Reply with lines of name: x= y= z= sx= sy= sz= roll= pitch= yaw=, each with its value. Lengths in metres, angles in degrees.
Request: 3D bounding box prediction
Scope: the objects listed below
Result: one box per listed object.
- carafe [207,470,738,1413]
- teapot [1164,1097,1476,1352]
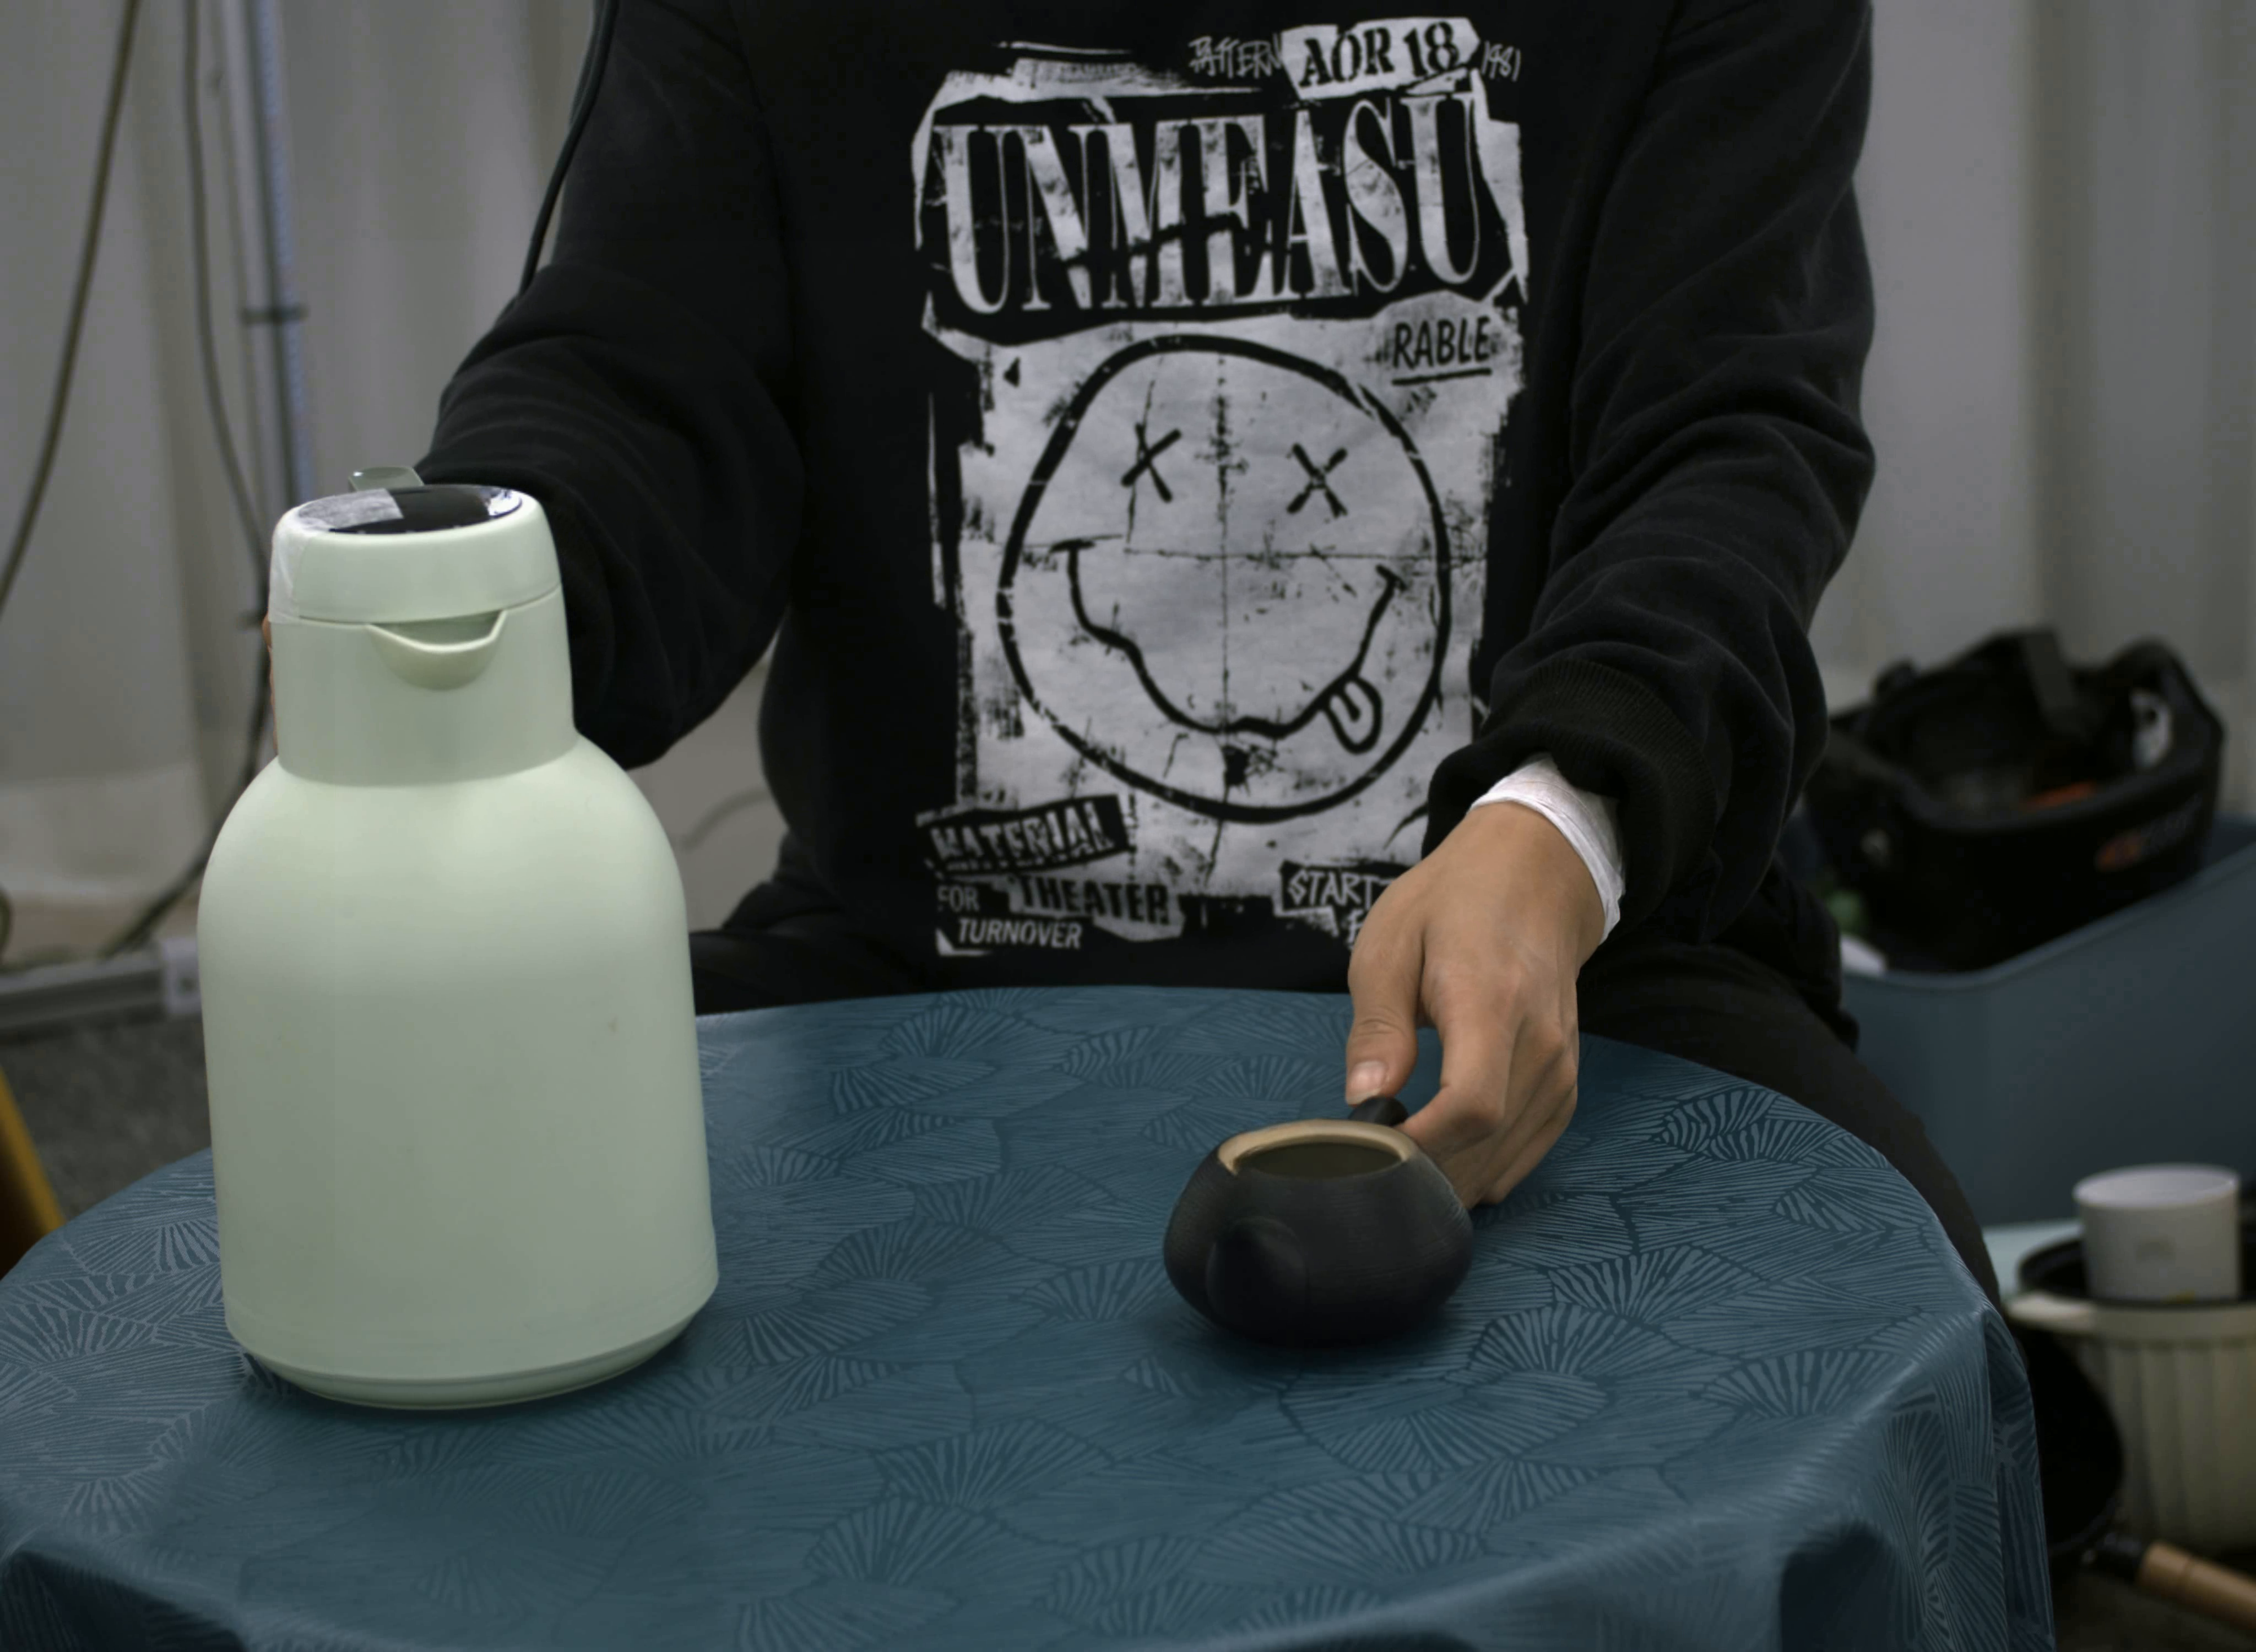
carafe: x=-0.199 y=0.028 z=1.598 sx=0.143 sy=0.256 sz=0.188 roll=-8 pitch=11 yaw=-15
teapot: x=0.056 y=0.119 z=1.585 sx=0.091 sy=0.053 sz=0.133 roll=6 pitch=17 yaw=24
